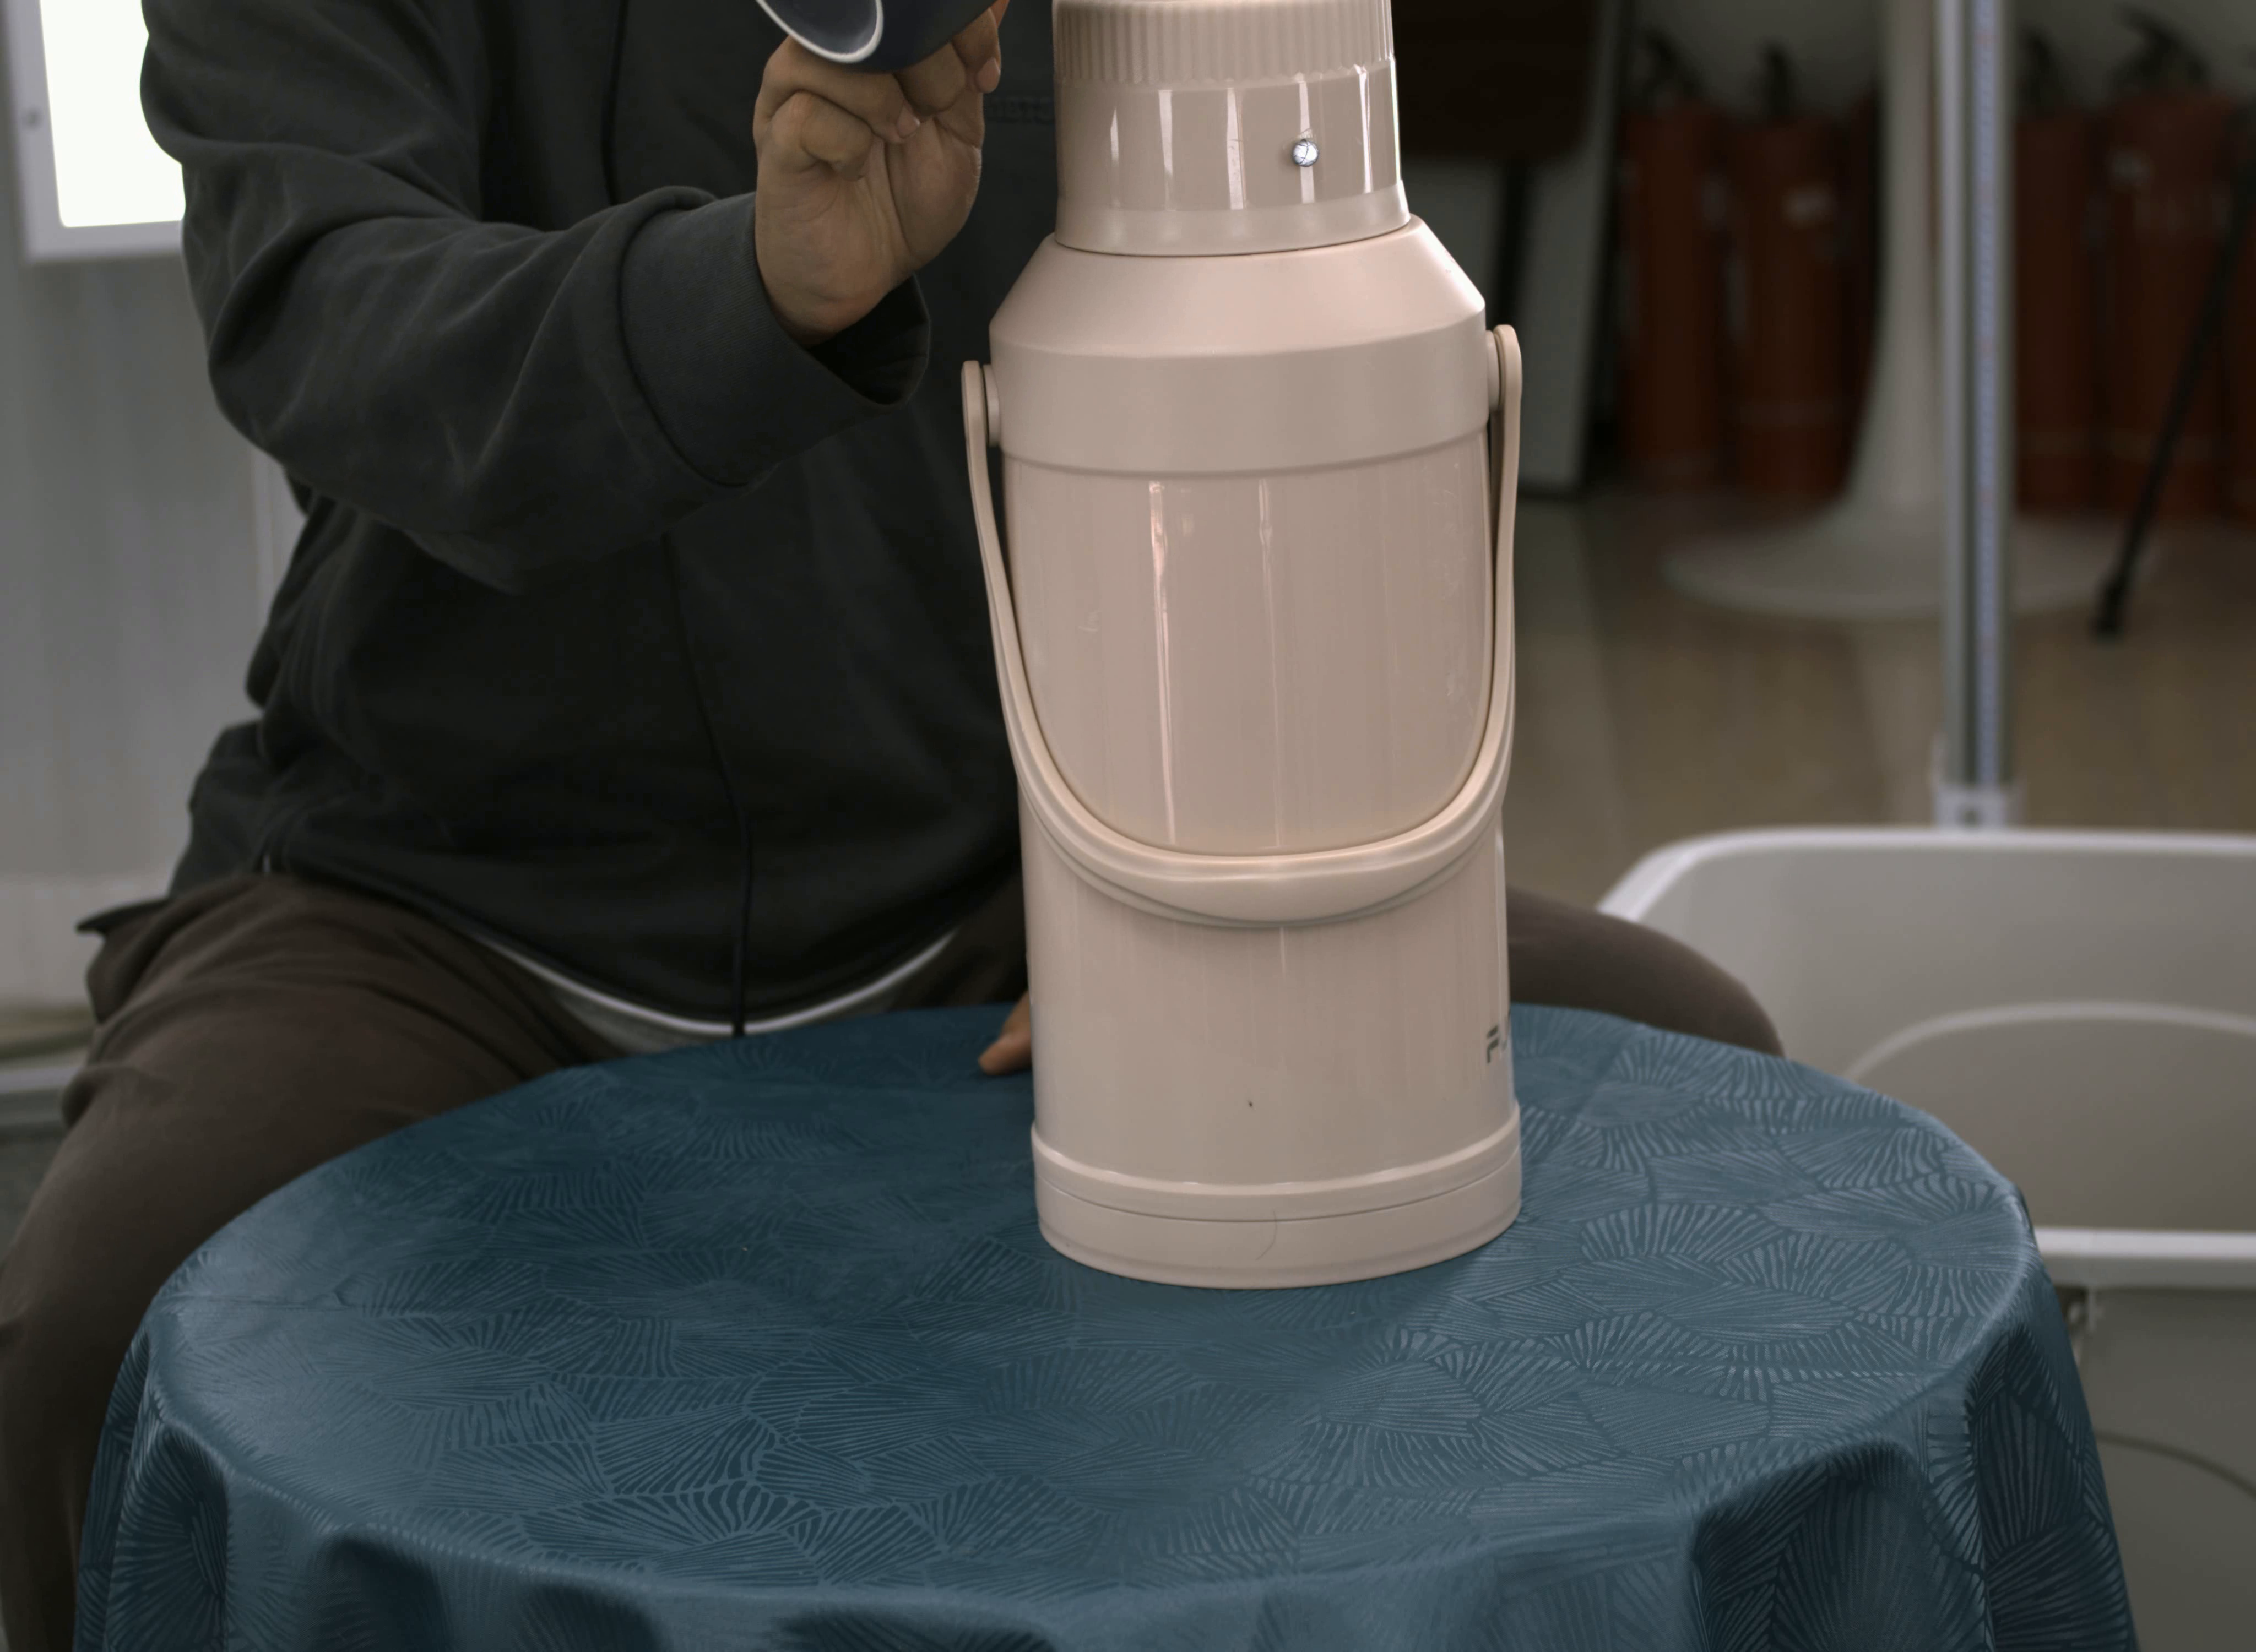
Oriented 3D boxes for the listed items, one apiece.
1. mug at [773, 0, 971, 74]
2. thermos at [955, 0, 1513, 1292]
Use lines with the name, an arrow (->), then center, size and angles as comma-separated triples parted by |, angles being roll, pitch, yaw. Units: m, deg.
mug -> -0.068, -0.276, 1.598 | 0.094, 0.123, 0.089 | 36, 61, 28
thermos -> 0.036, -0.072, 1.713 | 0.173, 0.411, 0.208 | -5, 14, -4
